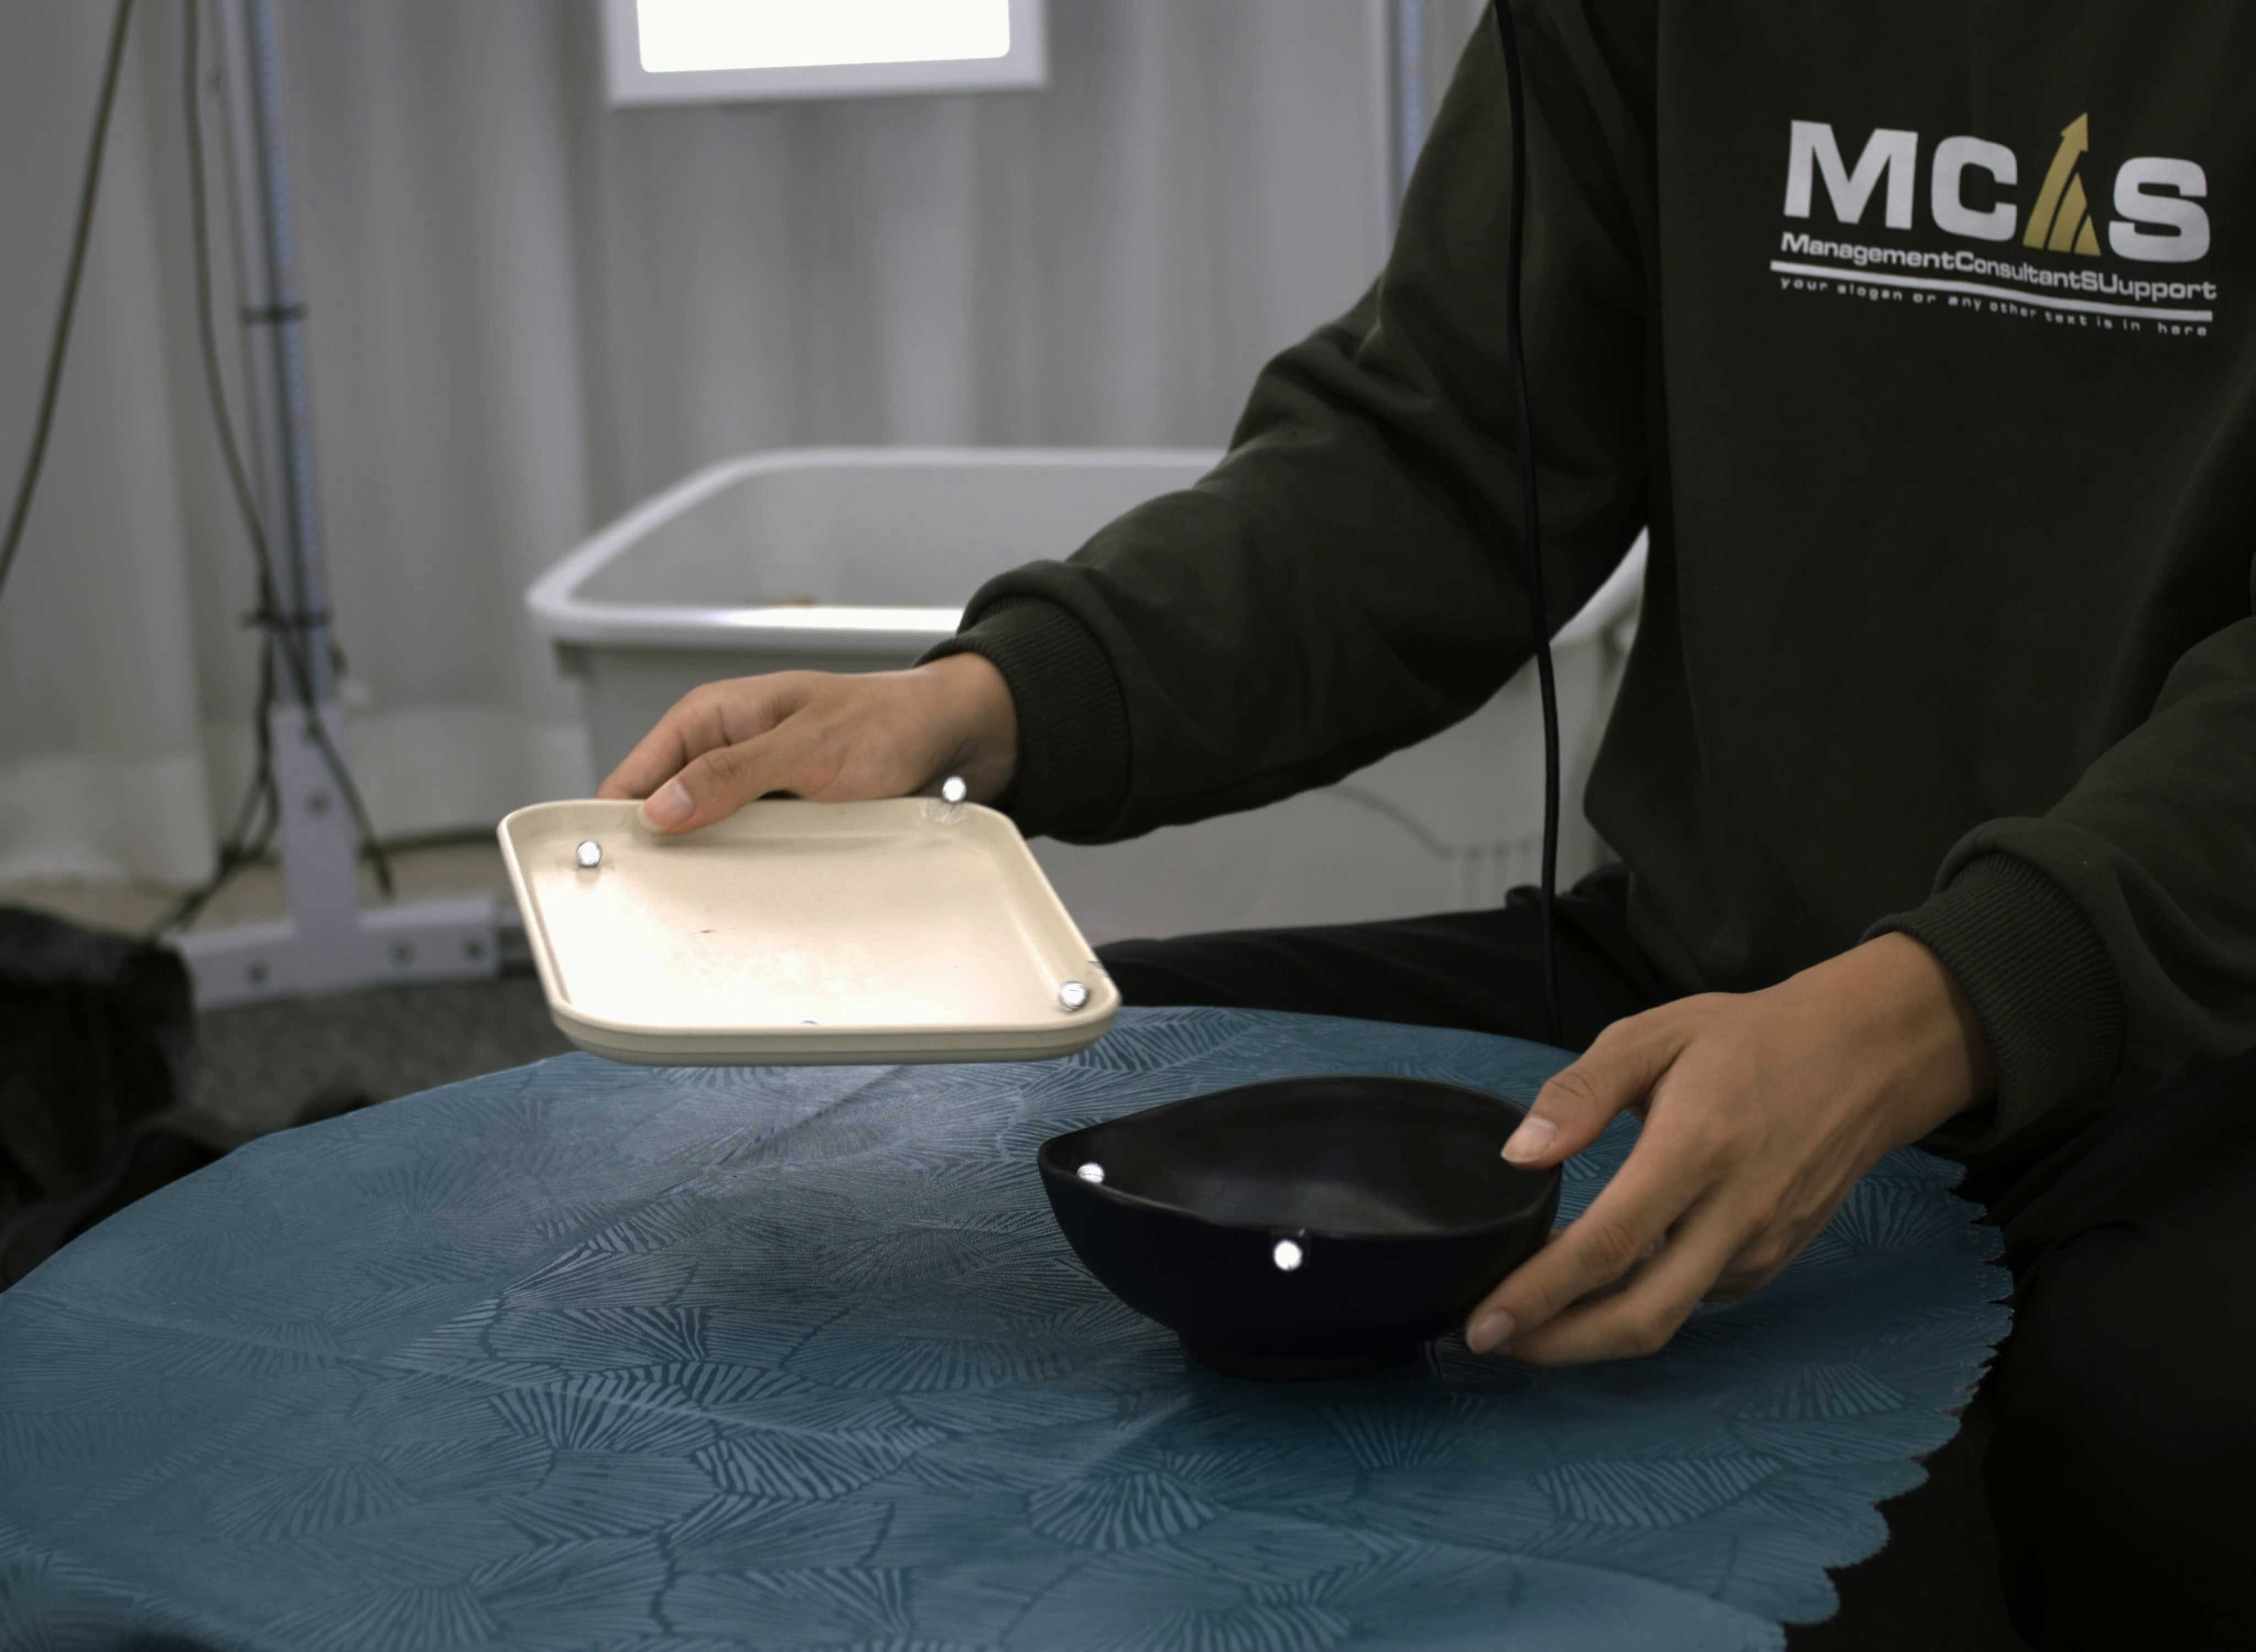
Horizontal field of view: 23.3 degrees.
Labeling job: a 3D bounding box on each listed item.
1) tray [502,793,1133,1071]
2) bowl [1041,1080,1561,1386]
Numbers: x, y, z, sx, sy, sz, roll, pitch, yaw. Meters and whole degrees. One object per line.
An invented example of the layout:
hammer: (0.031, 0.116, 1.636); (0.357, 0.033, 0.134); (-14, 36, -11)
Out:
tray: (-0.100, 0.032, 1.697); (0.170, 0.017, 0.242); (-1, 17, -12)
bowl: (0.048, 0.121, 1.570); (0.137, 0.066, 0.171); (-13, 16, -39)
